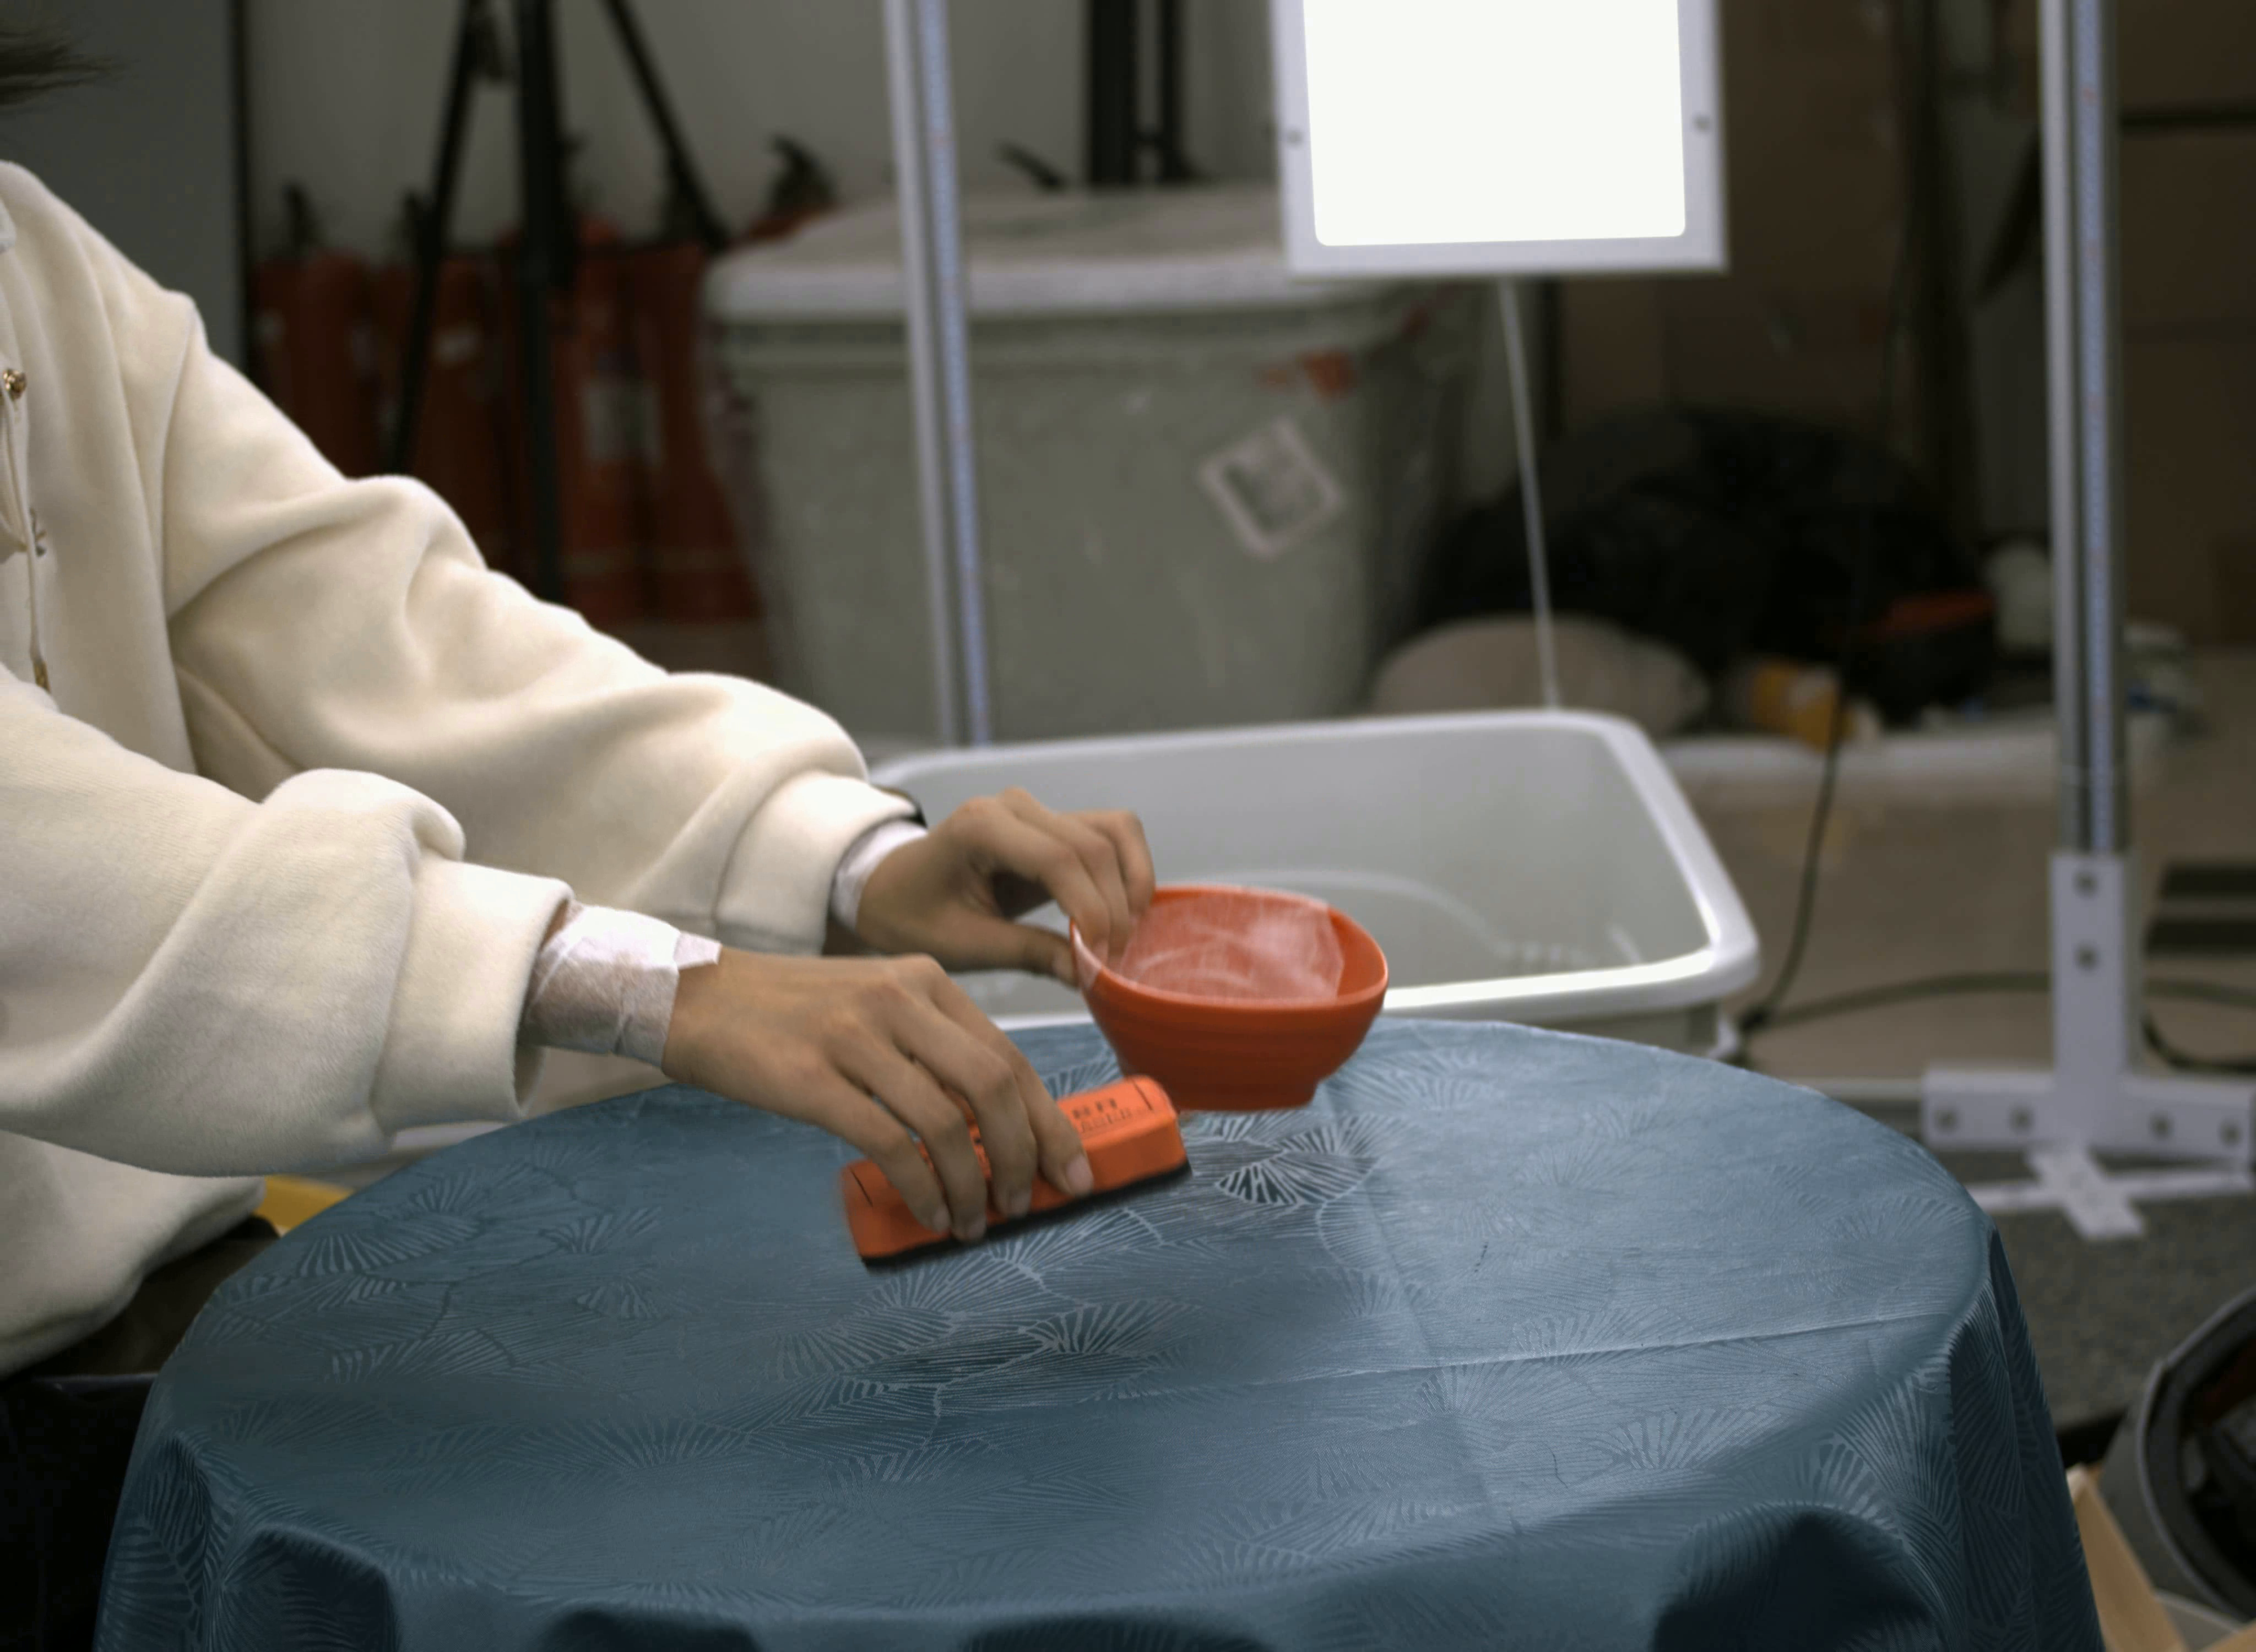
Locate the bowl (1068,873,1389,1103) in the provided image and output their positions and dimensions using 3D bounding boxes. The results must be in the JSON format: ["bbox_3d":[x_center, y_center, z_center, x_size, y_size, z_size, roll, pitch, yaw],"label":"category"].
[{"bbox_3d":[0.033,0.060,1.914,0.118,0.052,0.118,3,22,-3],"label":"bowl"}]

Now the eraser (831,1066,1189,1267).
[{"bbox_3d":[-0.038,0.107,1.742,0.107,0.023,0.059,-17,18,-4],"label":"eraser"}]
